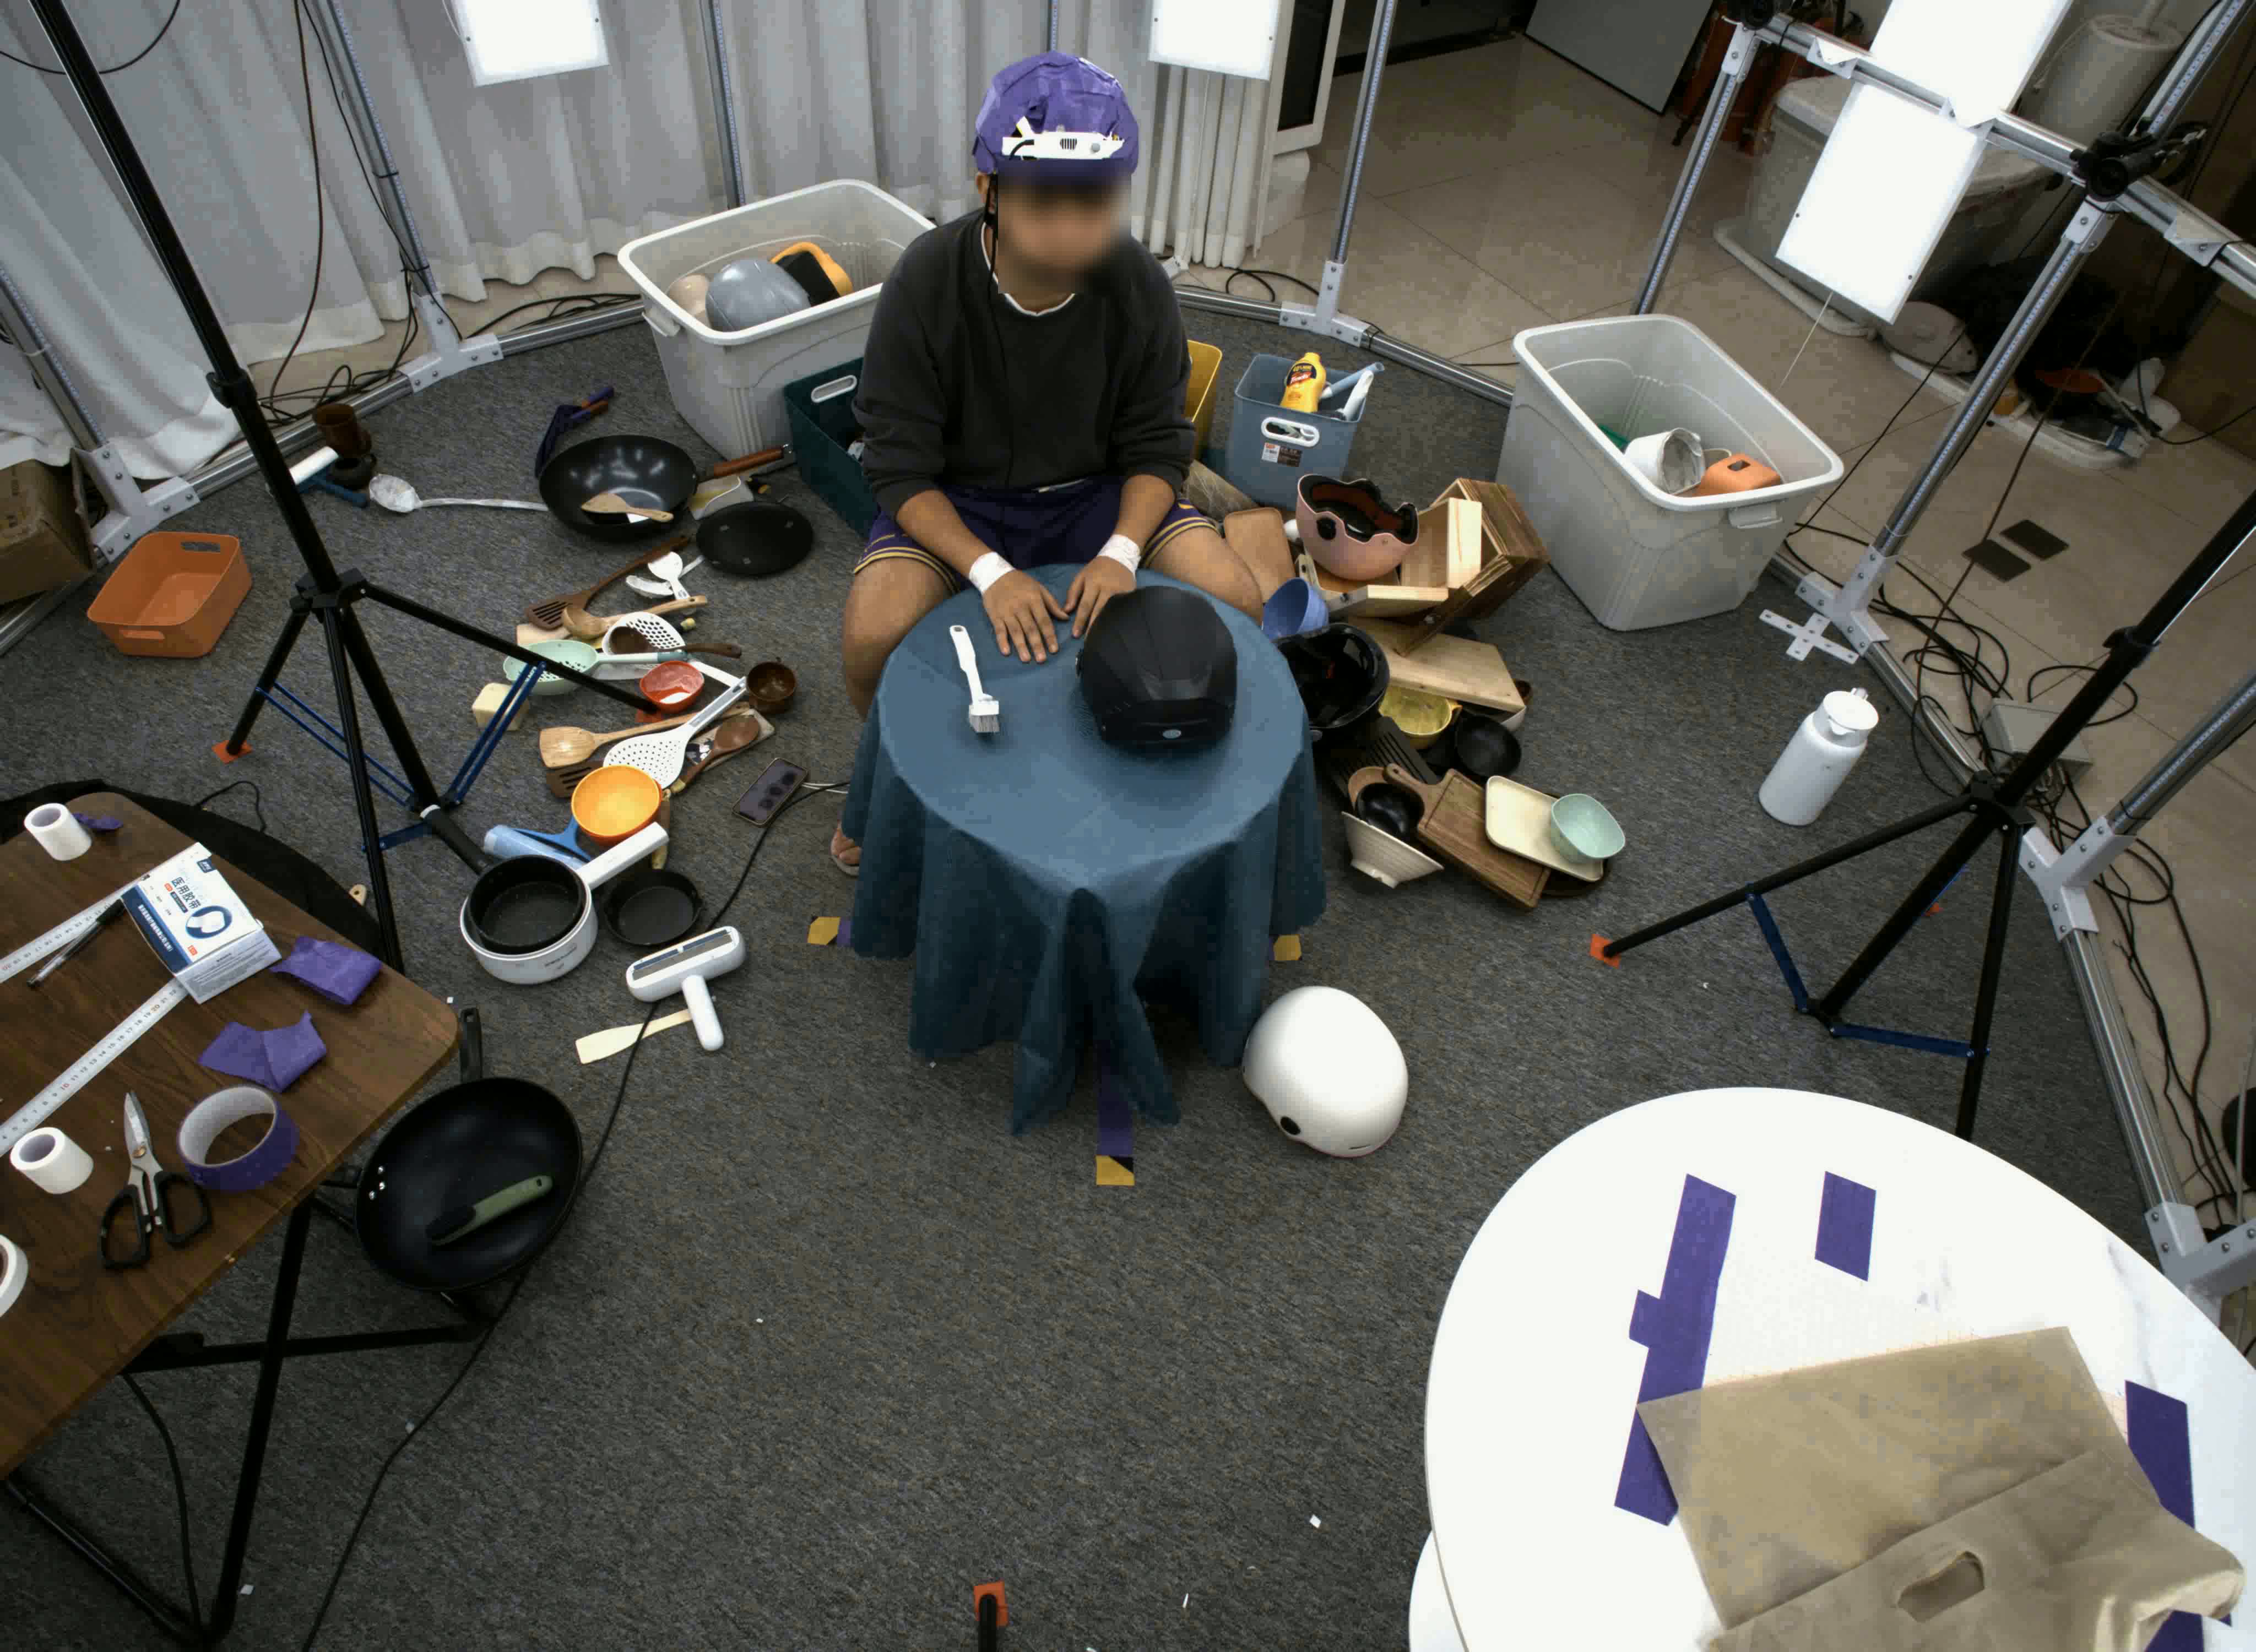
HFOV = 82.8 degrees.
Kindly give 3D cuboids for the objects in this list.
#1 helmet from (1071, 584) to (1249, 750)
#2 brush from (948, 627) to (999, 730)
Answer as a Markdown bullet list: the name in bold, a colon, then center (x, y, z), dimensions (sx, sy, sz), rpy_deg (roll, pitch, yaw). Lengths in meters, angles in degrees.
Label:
- **helmet**: center (0.049, -0.239, 1.774), dimensions (0.246, 0.168, 0.283), rpy_deg (-2, 51, -6)
- **brush**: center (-0.221, -0.206, 1.816), dimensions (0.034, 0.049, 0.249), rpy_deg (-5, 36, -17)
